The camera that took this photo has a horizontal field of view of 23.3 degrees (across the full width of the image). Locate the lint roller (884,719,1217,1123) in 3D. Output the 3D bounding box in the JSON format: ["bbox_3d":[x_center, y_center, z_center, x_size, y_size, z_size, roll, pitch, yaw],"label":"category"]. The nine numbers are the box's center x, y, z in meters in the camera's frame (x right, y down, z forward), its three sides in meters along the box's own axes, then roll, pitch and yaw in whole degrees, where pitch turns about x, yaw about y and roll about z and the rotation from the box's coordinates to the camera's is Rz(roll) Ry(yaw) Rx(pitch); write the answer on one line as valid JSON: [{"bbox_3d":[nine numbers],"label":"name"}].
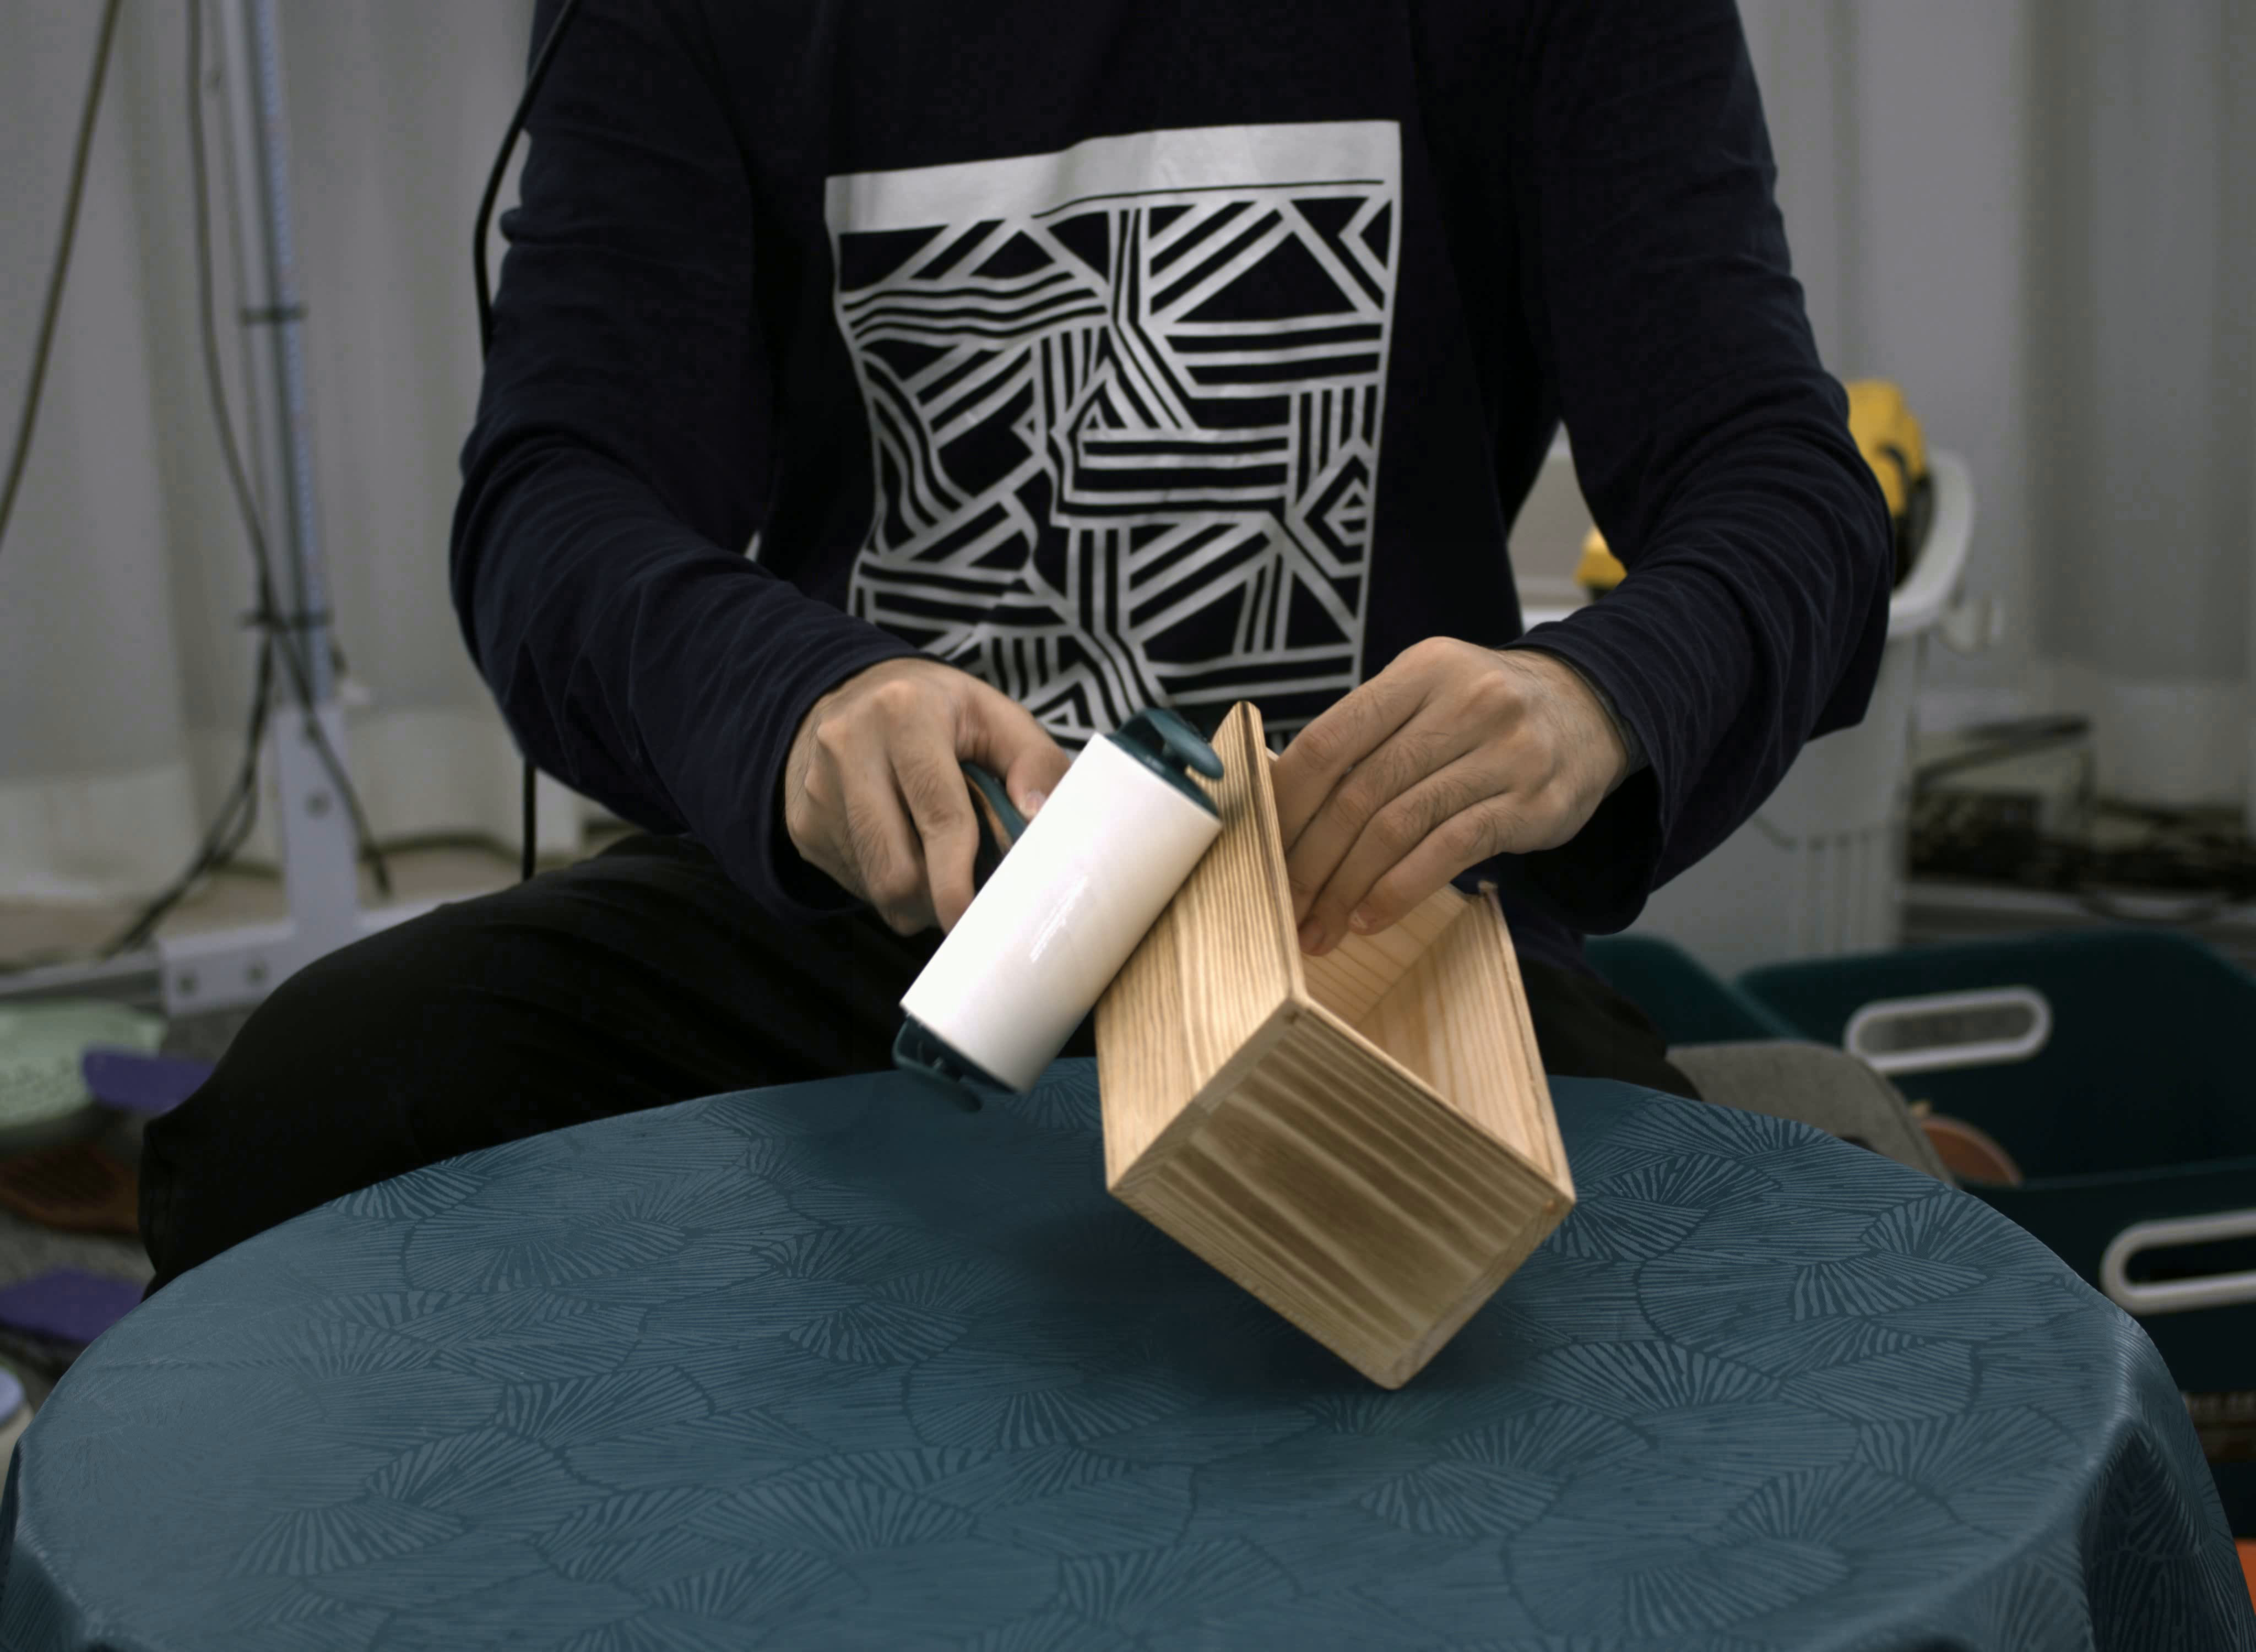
[{"bbox_3d":[-0.046,0.010,1.666,0.048,0.134,0.182,37,-1,-27],"label":"lint roller"}]

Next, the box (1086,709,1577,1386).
[{"bbox_3d":[0.054,0.061,1.605,0.107,0.080,0.213,36,16,-16],"label":"box"}]
